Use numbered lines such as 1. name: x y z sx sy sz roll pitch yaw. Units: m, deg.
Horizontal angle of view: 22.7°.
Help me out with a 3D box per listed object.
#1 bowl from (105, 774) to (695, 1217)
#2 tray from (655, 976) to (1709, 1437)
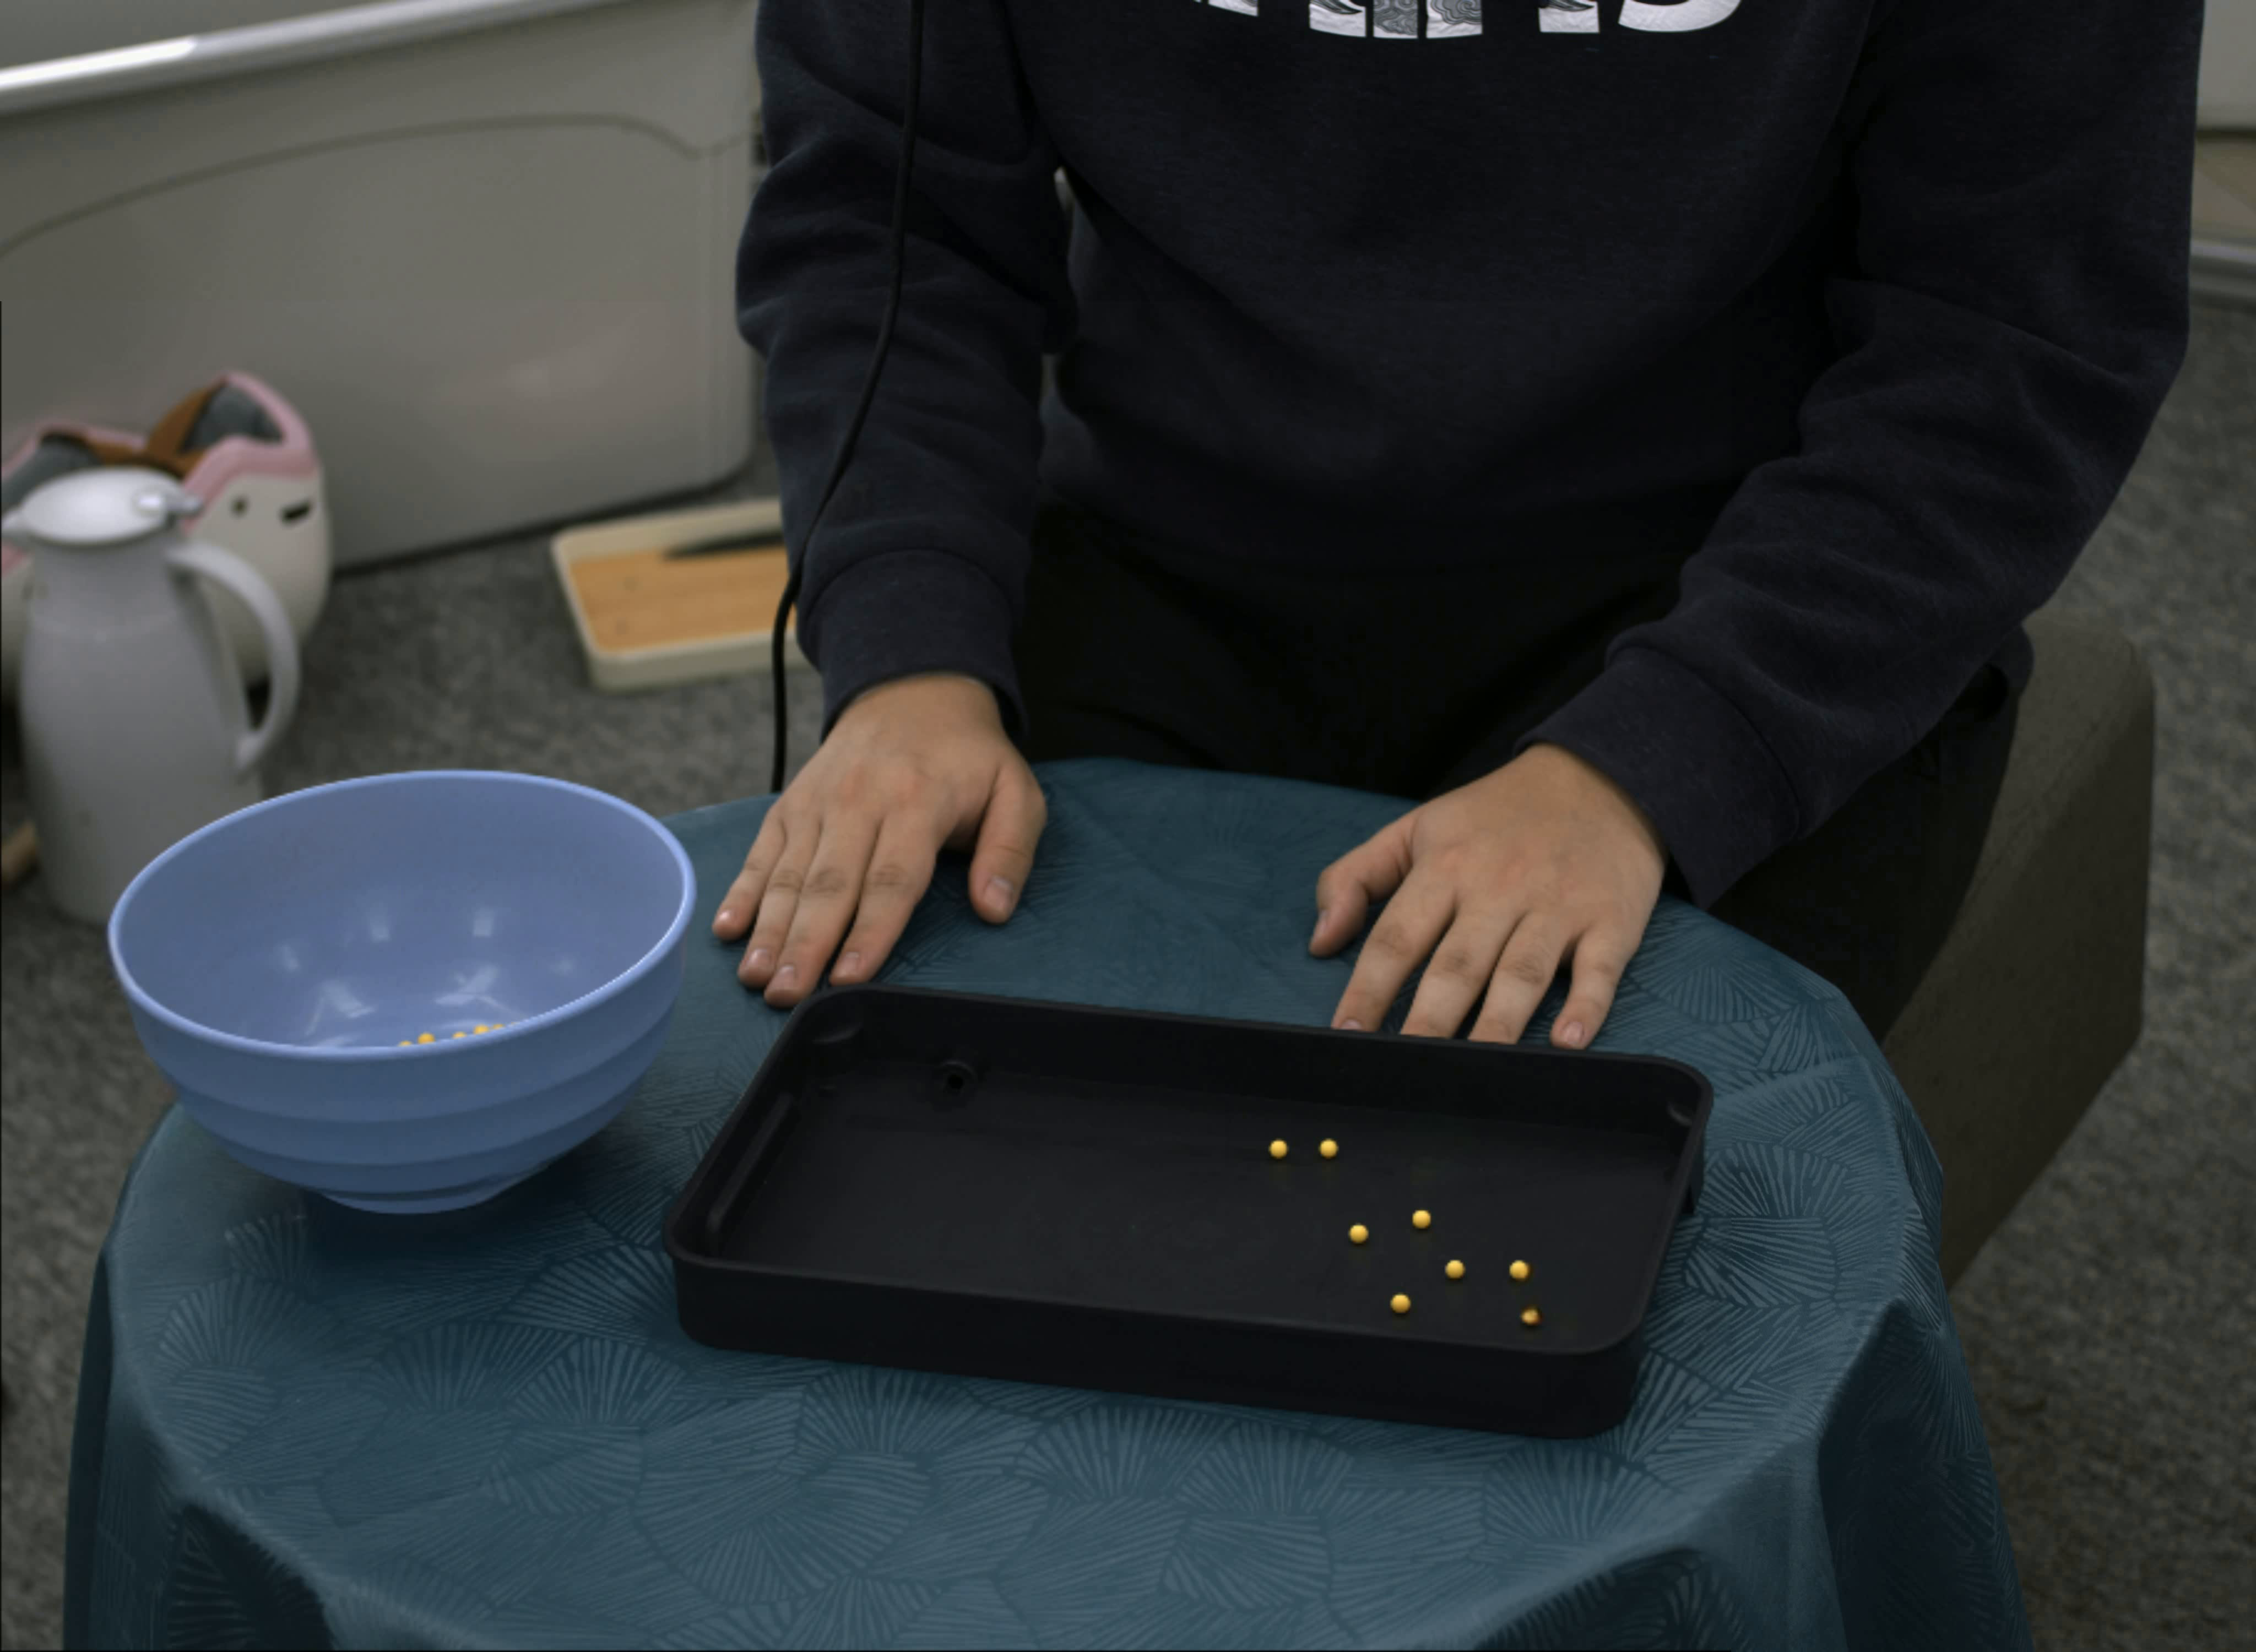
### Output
1. bowl: -0.239 0.068 1.889 0.195 0.094 0.199 -3 27 2
2. tray: 0.020 0.120 1.825 0.316 0.036 0.187 5 28 14
